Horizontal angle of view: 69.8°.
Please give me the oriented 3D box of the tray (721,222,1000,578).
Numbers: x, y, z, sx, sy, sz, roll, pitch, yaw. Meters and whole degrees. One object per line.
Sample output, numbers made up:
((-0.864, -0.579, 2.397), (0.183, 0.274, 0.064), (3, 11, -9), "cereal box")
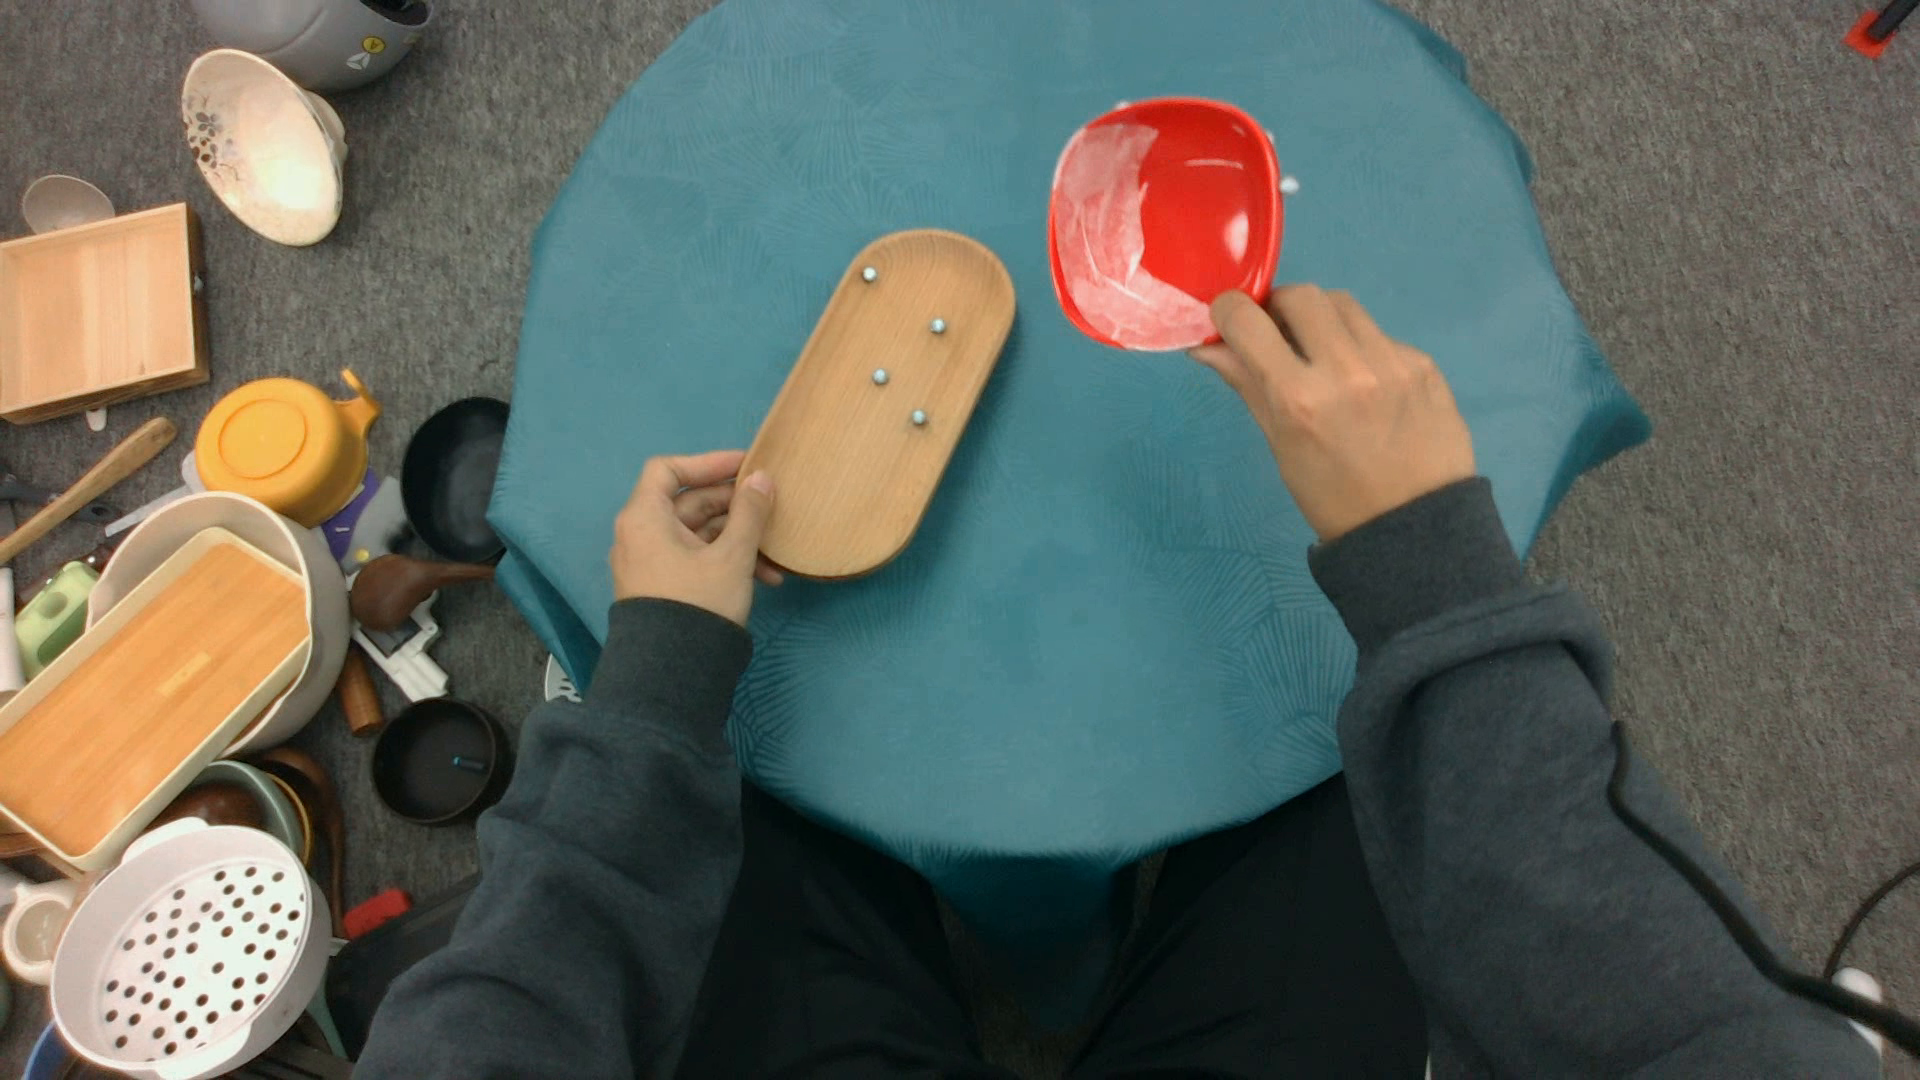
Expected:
((-0.051, -0.081, 0.752), (0.101, 0.020, 0.232), (19, 66, 8), "tray")

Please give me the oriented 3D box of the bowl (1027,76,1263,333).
((0.090, -0.150, 0.624), (0.118, 0.051, 0.118), (6, 101, 30), "bowl")
